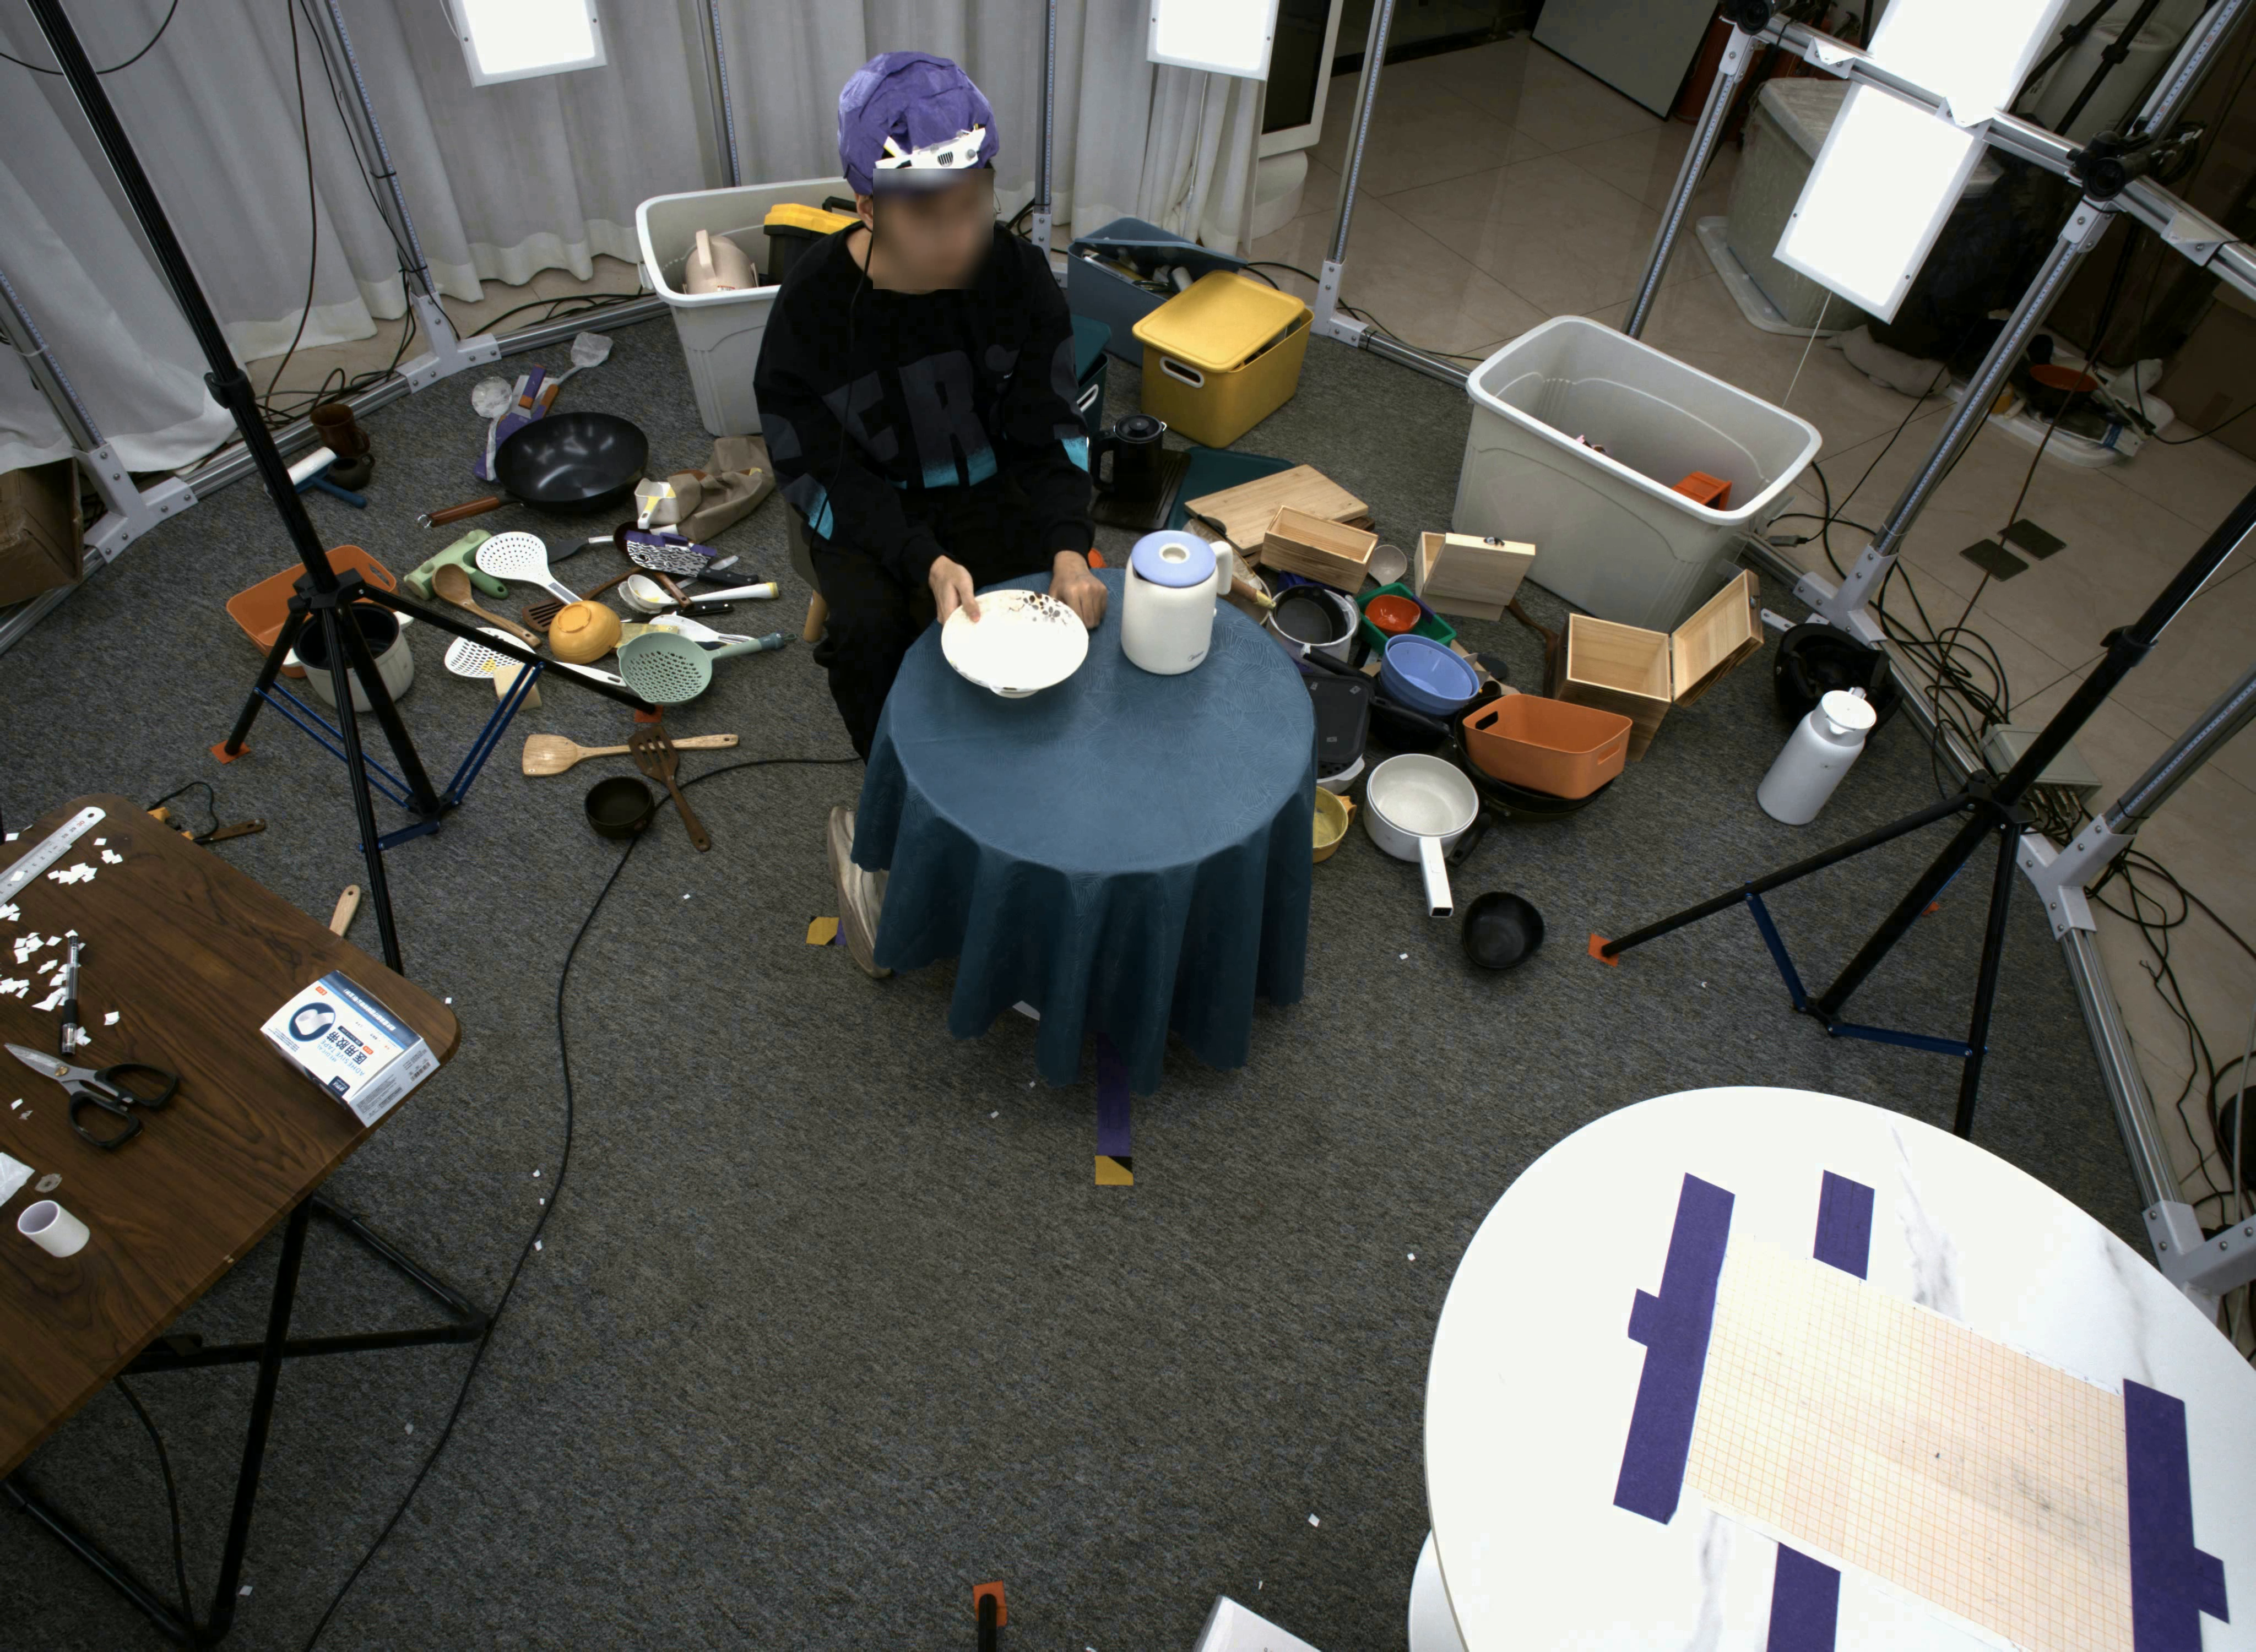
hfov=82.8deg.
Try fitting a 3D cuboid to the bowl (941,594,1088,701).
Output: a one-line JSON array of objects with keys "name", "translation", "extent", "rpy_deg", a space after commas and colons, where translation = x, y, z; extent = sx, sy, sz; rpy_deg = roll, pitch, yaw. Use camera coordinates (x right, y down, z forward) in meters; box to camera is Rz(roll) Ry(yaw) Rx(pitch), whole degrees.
[{"name": "bowl", "translation": [-0.159, -0.234, 1.812], "extent": [0.204, 0.076, 0.209], "rpy_deg": [2, 47, -3]}]

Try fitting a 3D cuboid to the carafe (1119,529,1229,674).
[{"name": "carafe", "translation": [0.076, -0.331, 1.851], "extent": [0.192, 0.178, 0.134], "rpy_deg": [-32, 59, -30]}]
